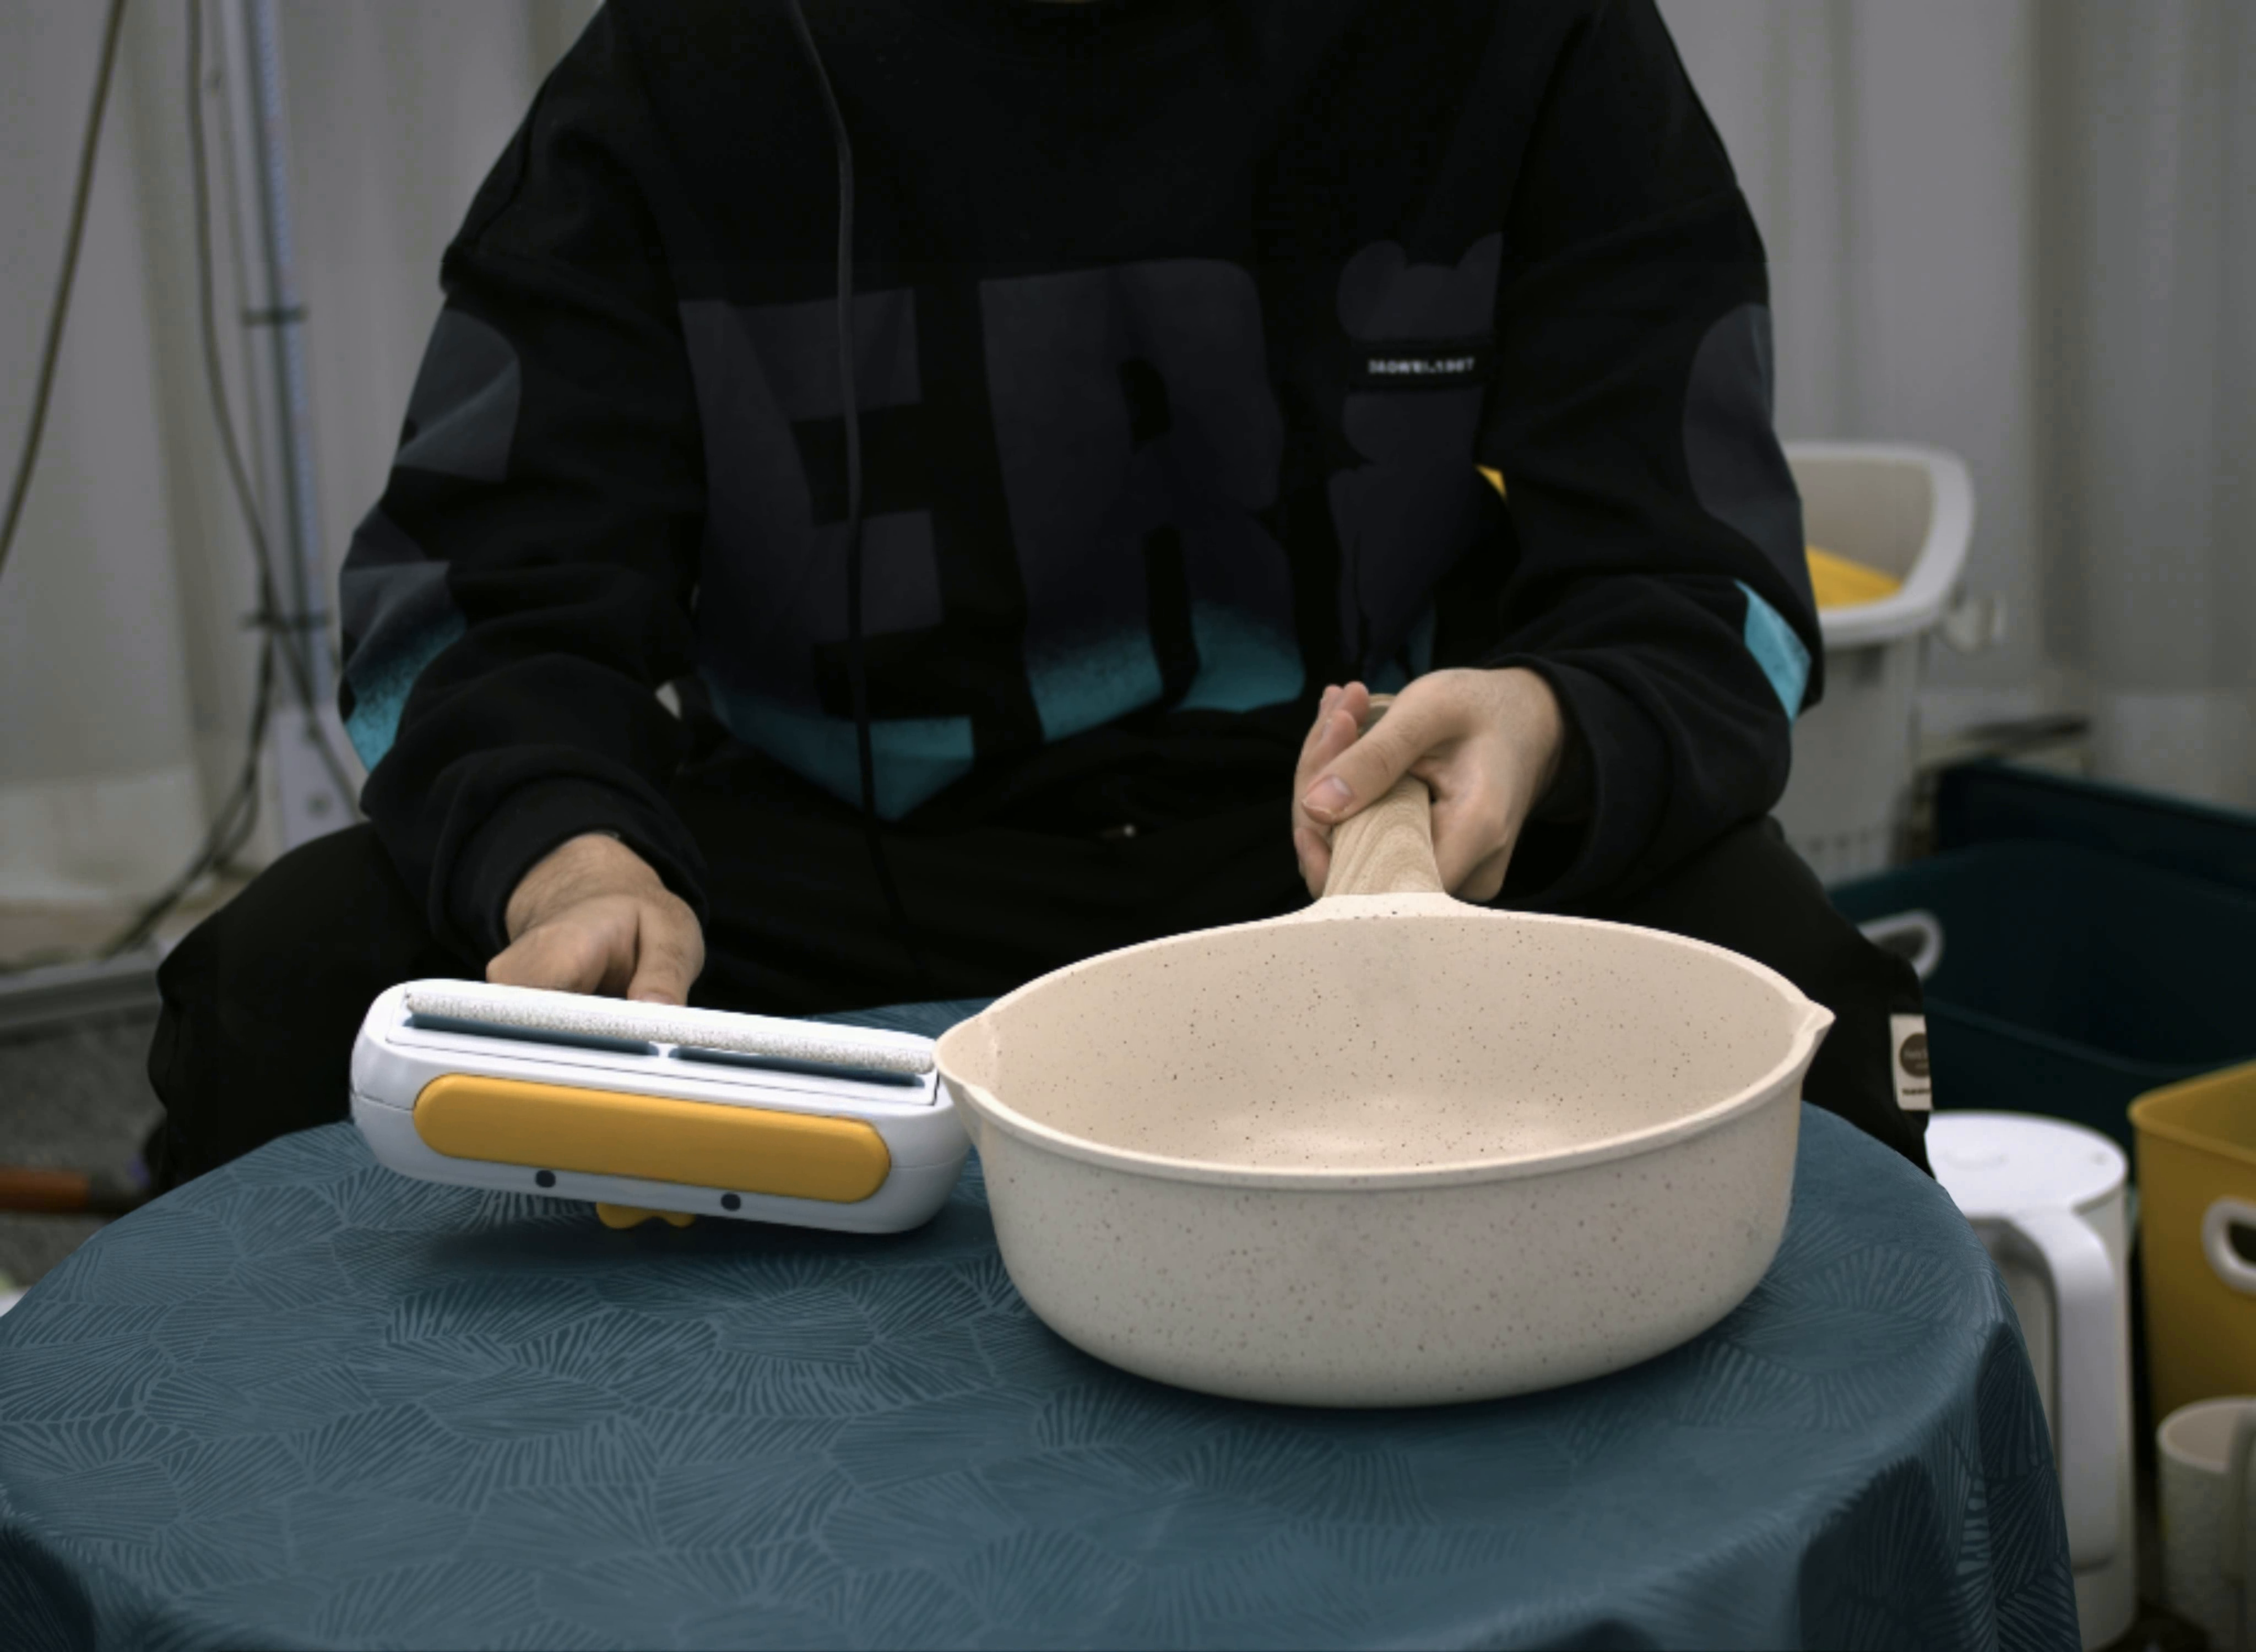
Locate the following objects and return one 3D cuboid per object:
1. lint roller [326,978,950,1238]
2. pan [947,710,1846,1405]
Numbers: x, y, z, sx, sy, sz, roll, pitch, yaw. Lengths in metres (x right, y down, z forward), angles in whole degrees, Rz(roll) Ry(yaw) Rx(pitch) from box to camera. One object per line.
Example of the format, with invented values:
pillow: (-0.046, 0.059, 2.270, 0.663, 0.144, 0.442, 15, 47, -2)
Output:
lint roller: (-0.146, 0.079, 1.746, 0.192, 0.074, 0.193, 3, 14, 5)
pan: (0.083, 0.066, 1.687, 0.262, 0.101, 0.438, -5, 15, 3)
